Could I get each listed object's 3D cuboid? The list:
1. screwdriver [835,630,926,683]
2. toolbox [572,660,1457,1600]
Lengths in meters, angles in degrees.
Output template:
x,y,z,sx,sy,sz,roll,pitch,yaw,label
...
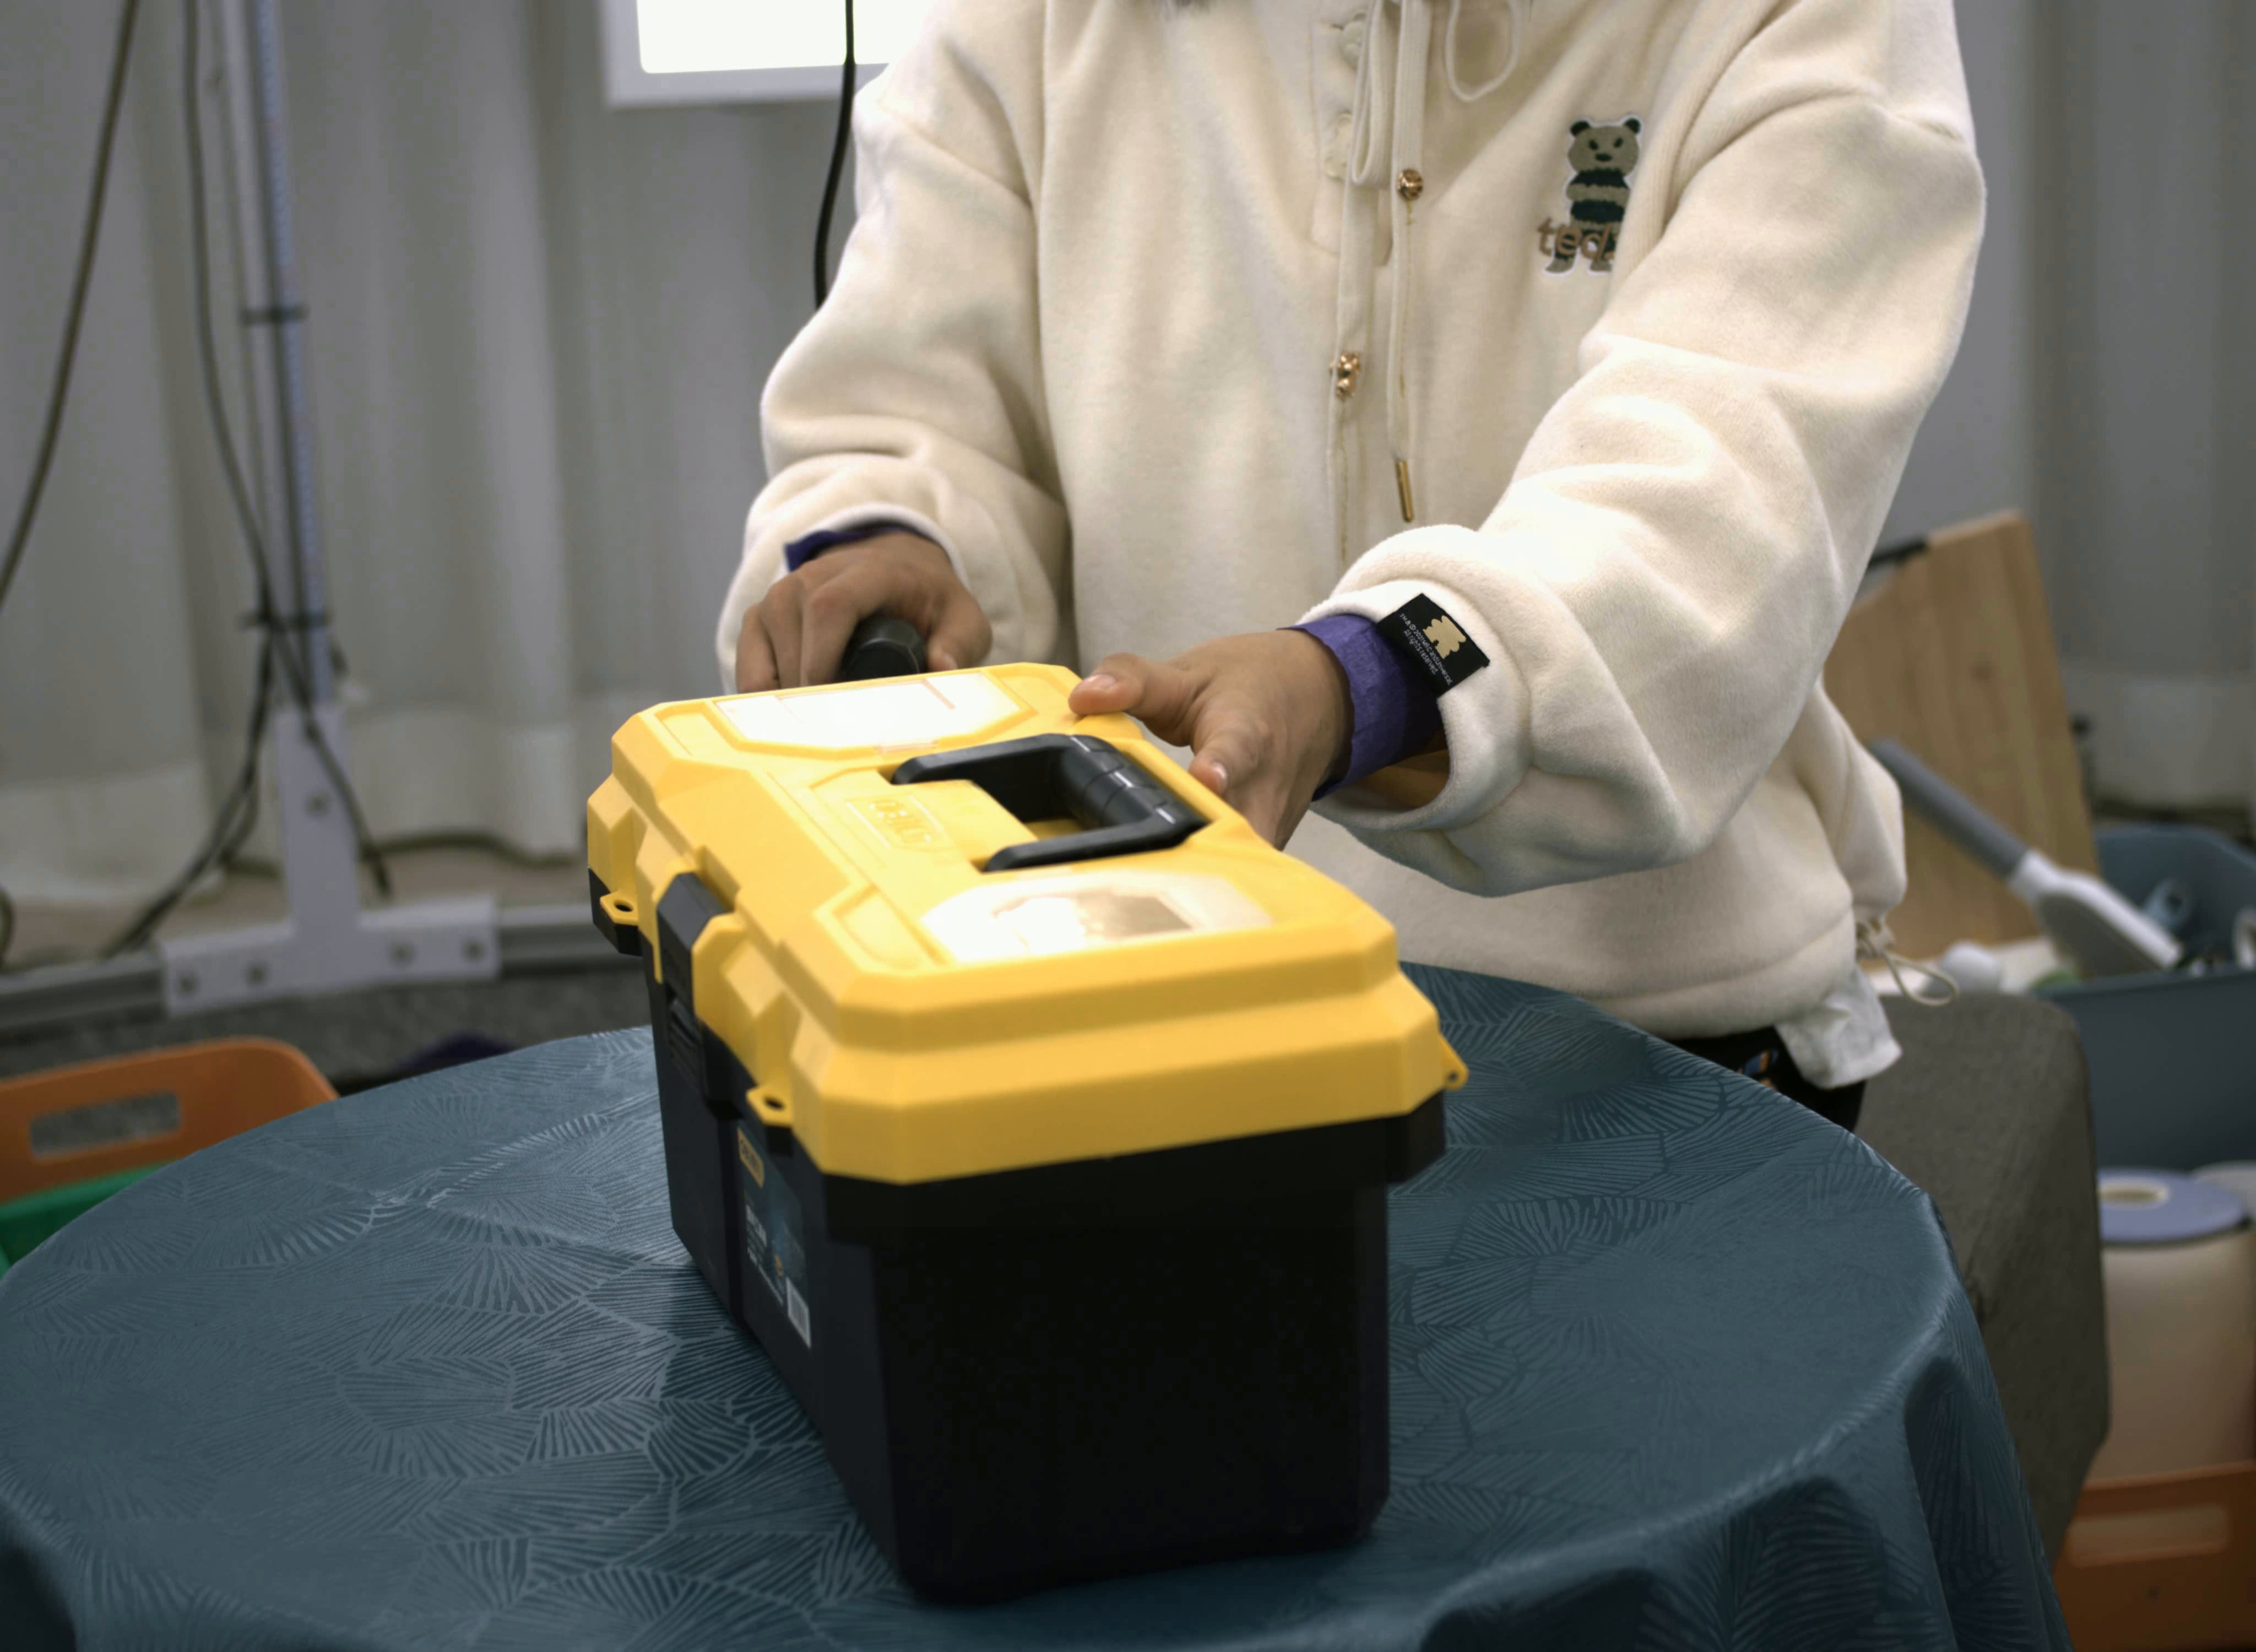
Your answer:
x,y,z,sx,sy,sz,roll,pitch,yaw,label
-0.081,-0.043,1.775,0.031,0.031,0.198,-3,7,-2,screwdriver
-0.039,0.075,1.535,0.180,0.172,0.354,-6,15,-14,toolbox
